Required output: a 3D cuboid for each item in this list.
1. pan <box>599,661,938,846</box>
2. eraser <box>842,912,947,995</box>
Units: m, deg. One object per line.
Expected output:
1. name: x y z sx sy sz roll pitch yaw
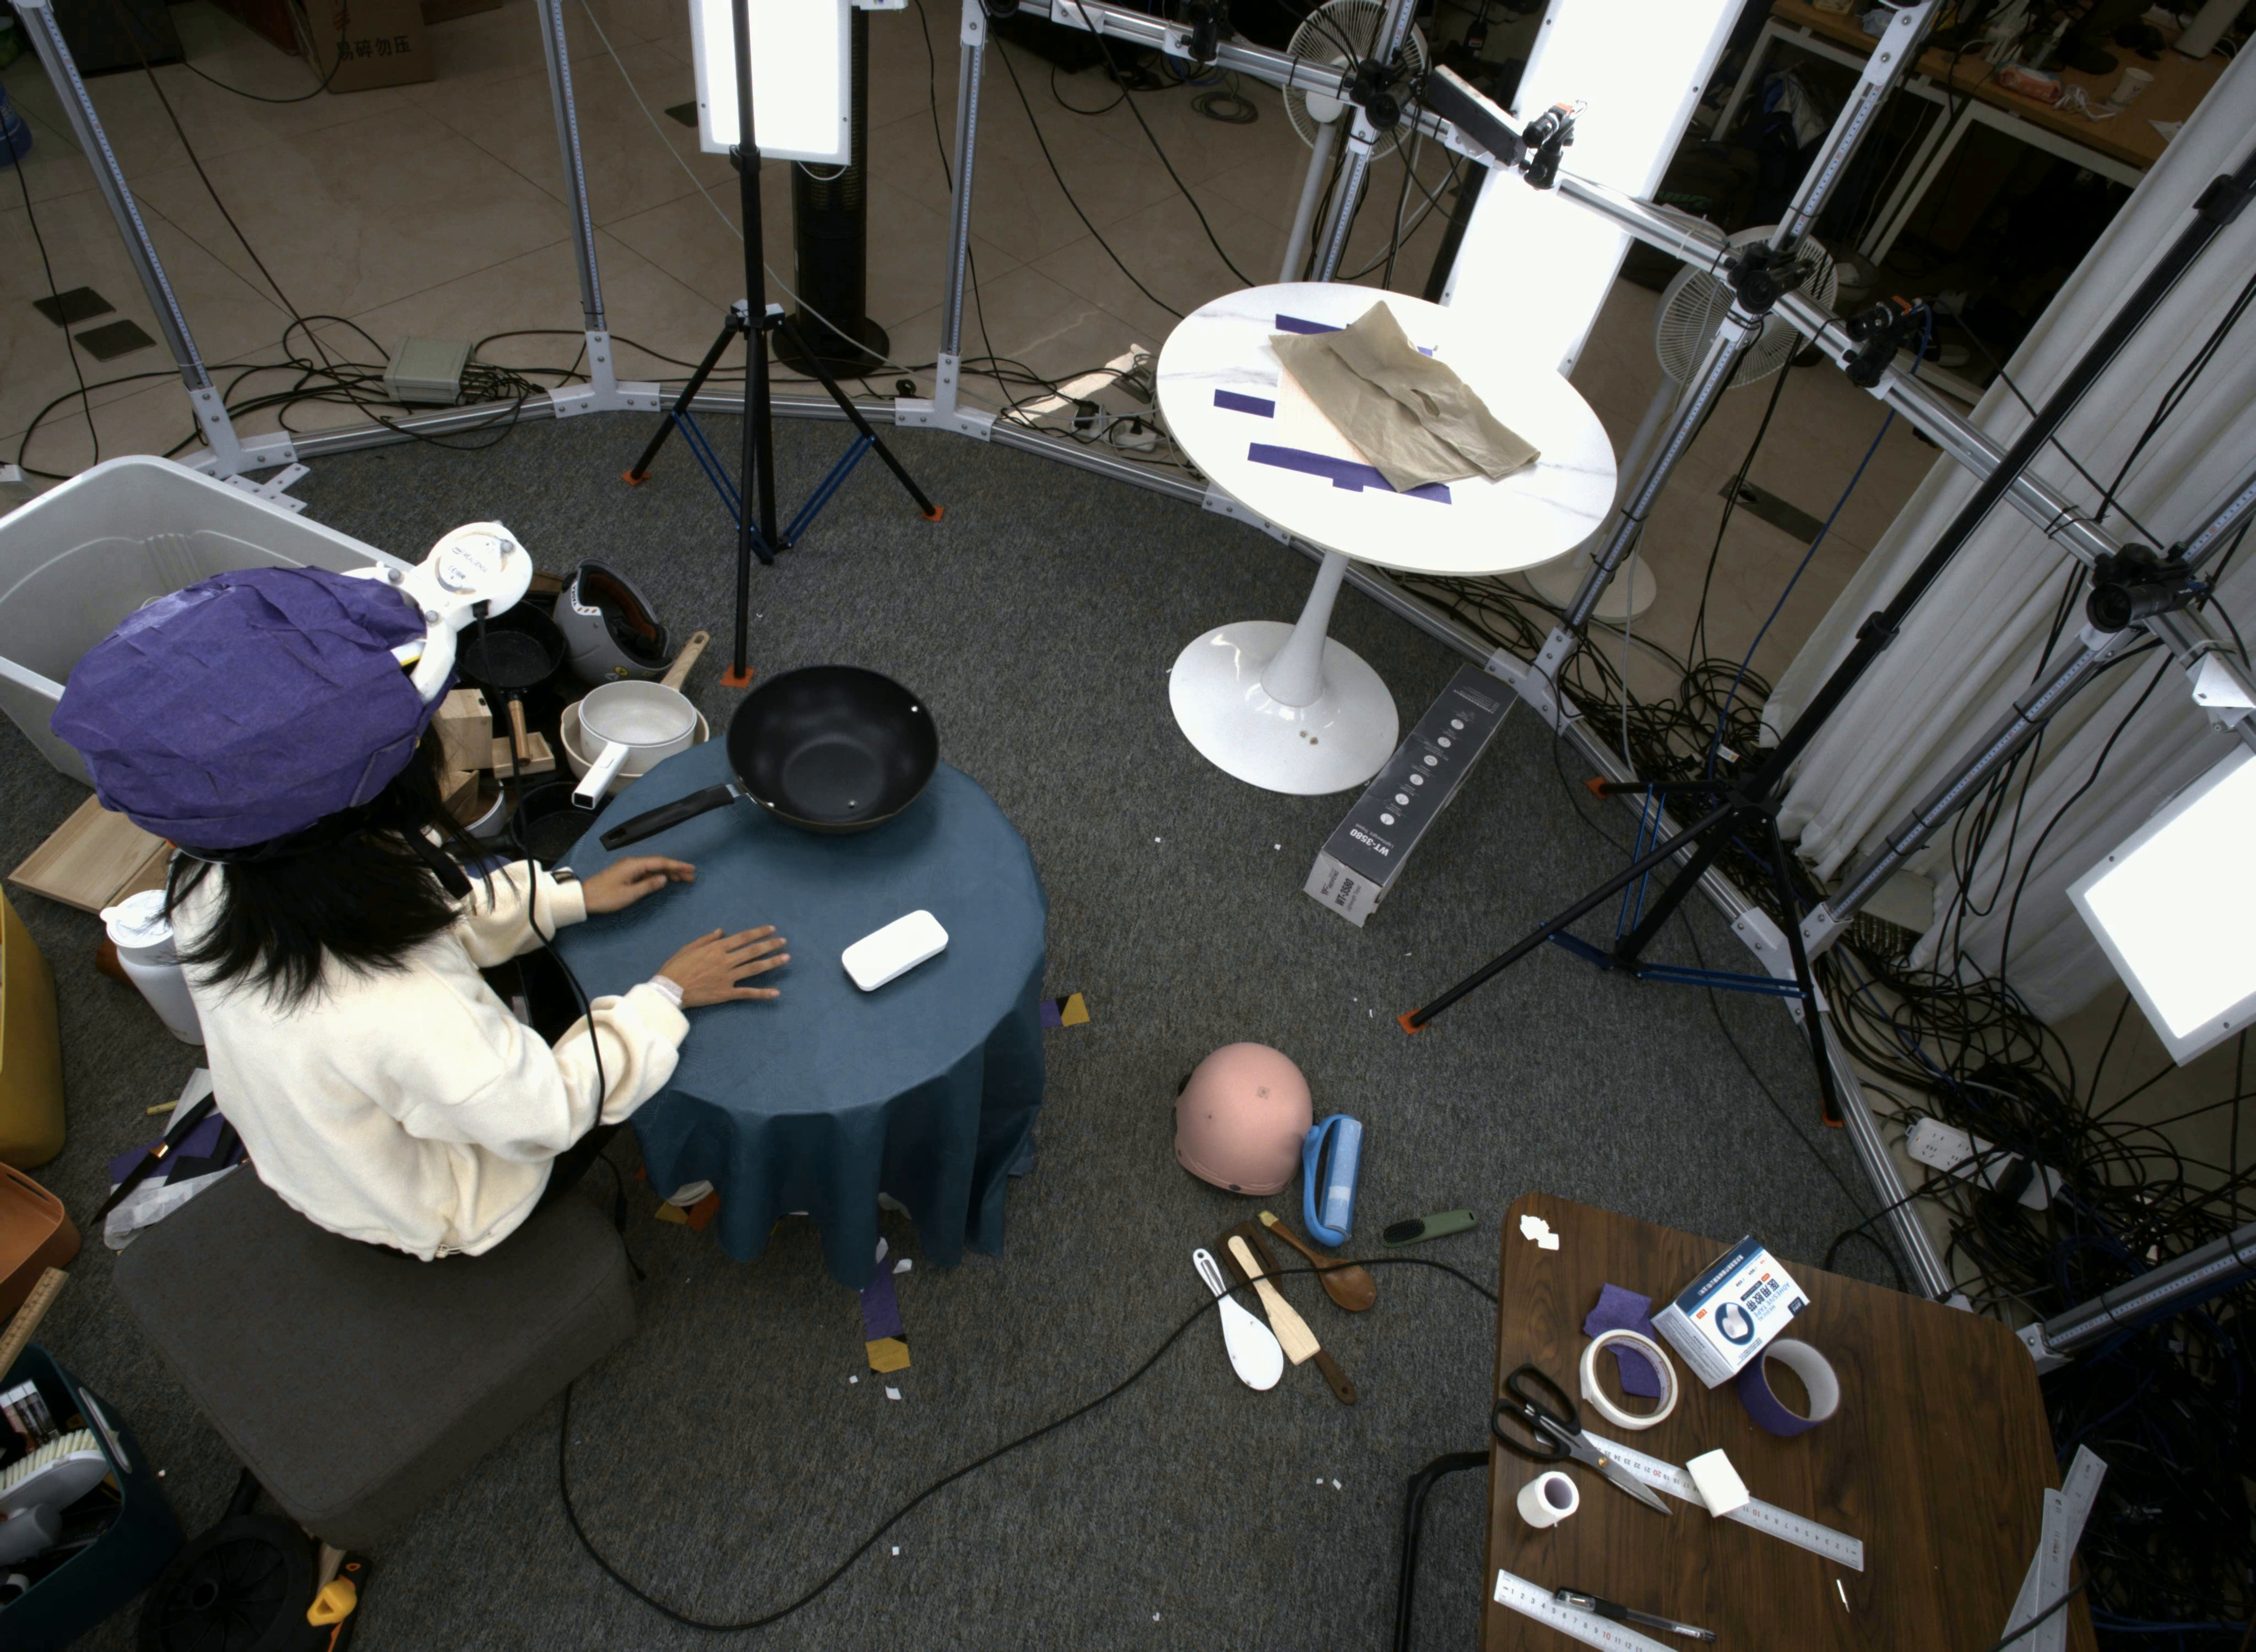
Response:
1. pan: -0.466 -0.054 1.695 0.465 0.088 0.281 -29 64 -29
2. eraser: -0.290 0.154 1.620 0.132 0.035 0.062 -30 62 -31
